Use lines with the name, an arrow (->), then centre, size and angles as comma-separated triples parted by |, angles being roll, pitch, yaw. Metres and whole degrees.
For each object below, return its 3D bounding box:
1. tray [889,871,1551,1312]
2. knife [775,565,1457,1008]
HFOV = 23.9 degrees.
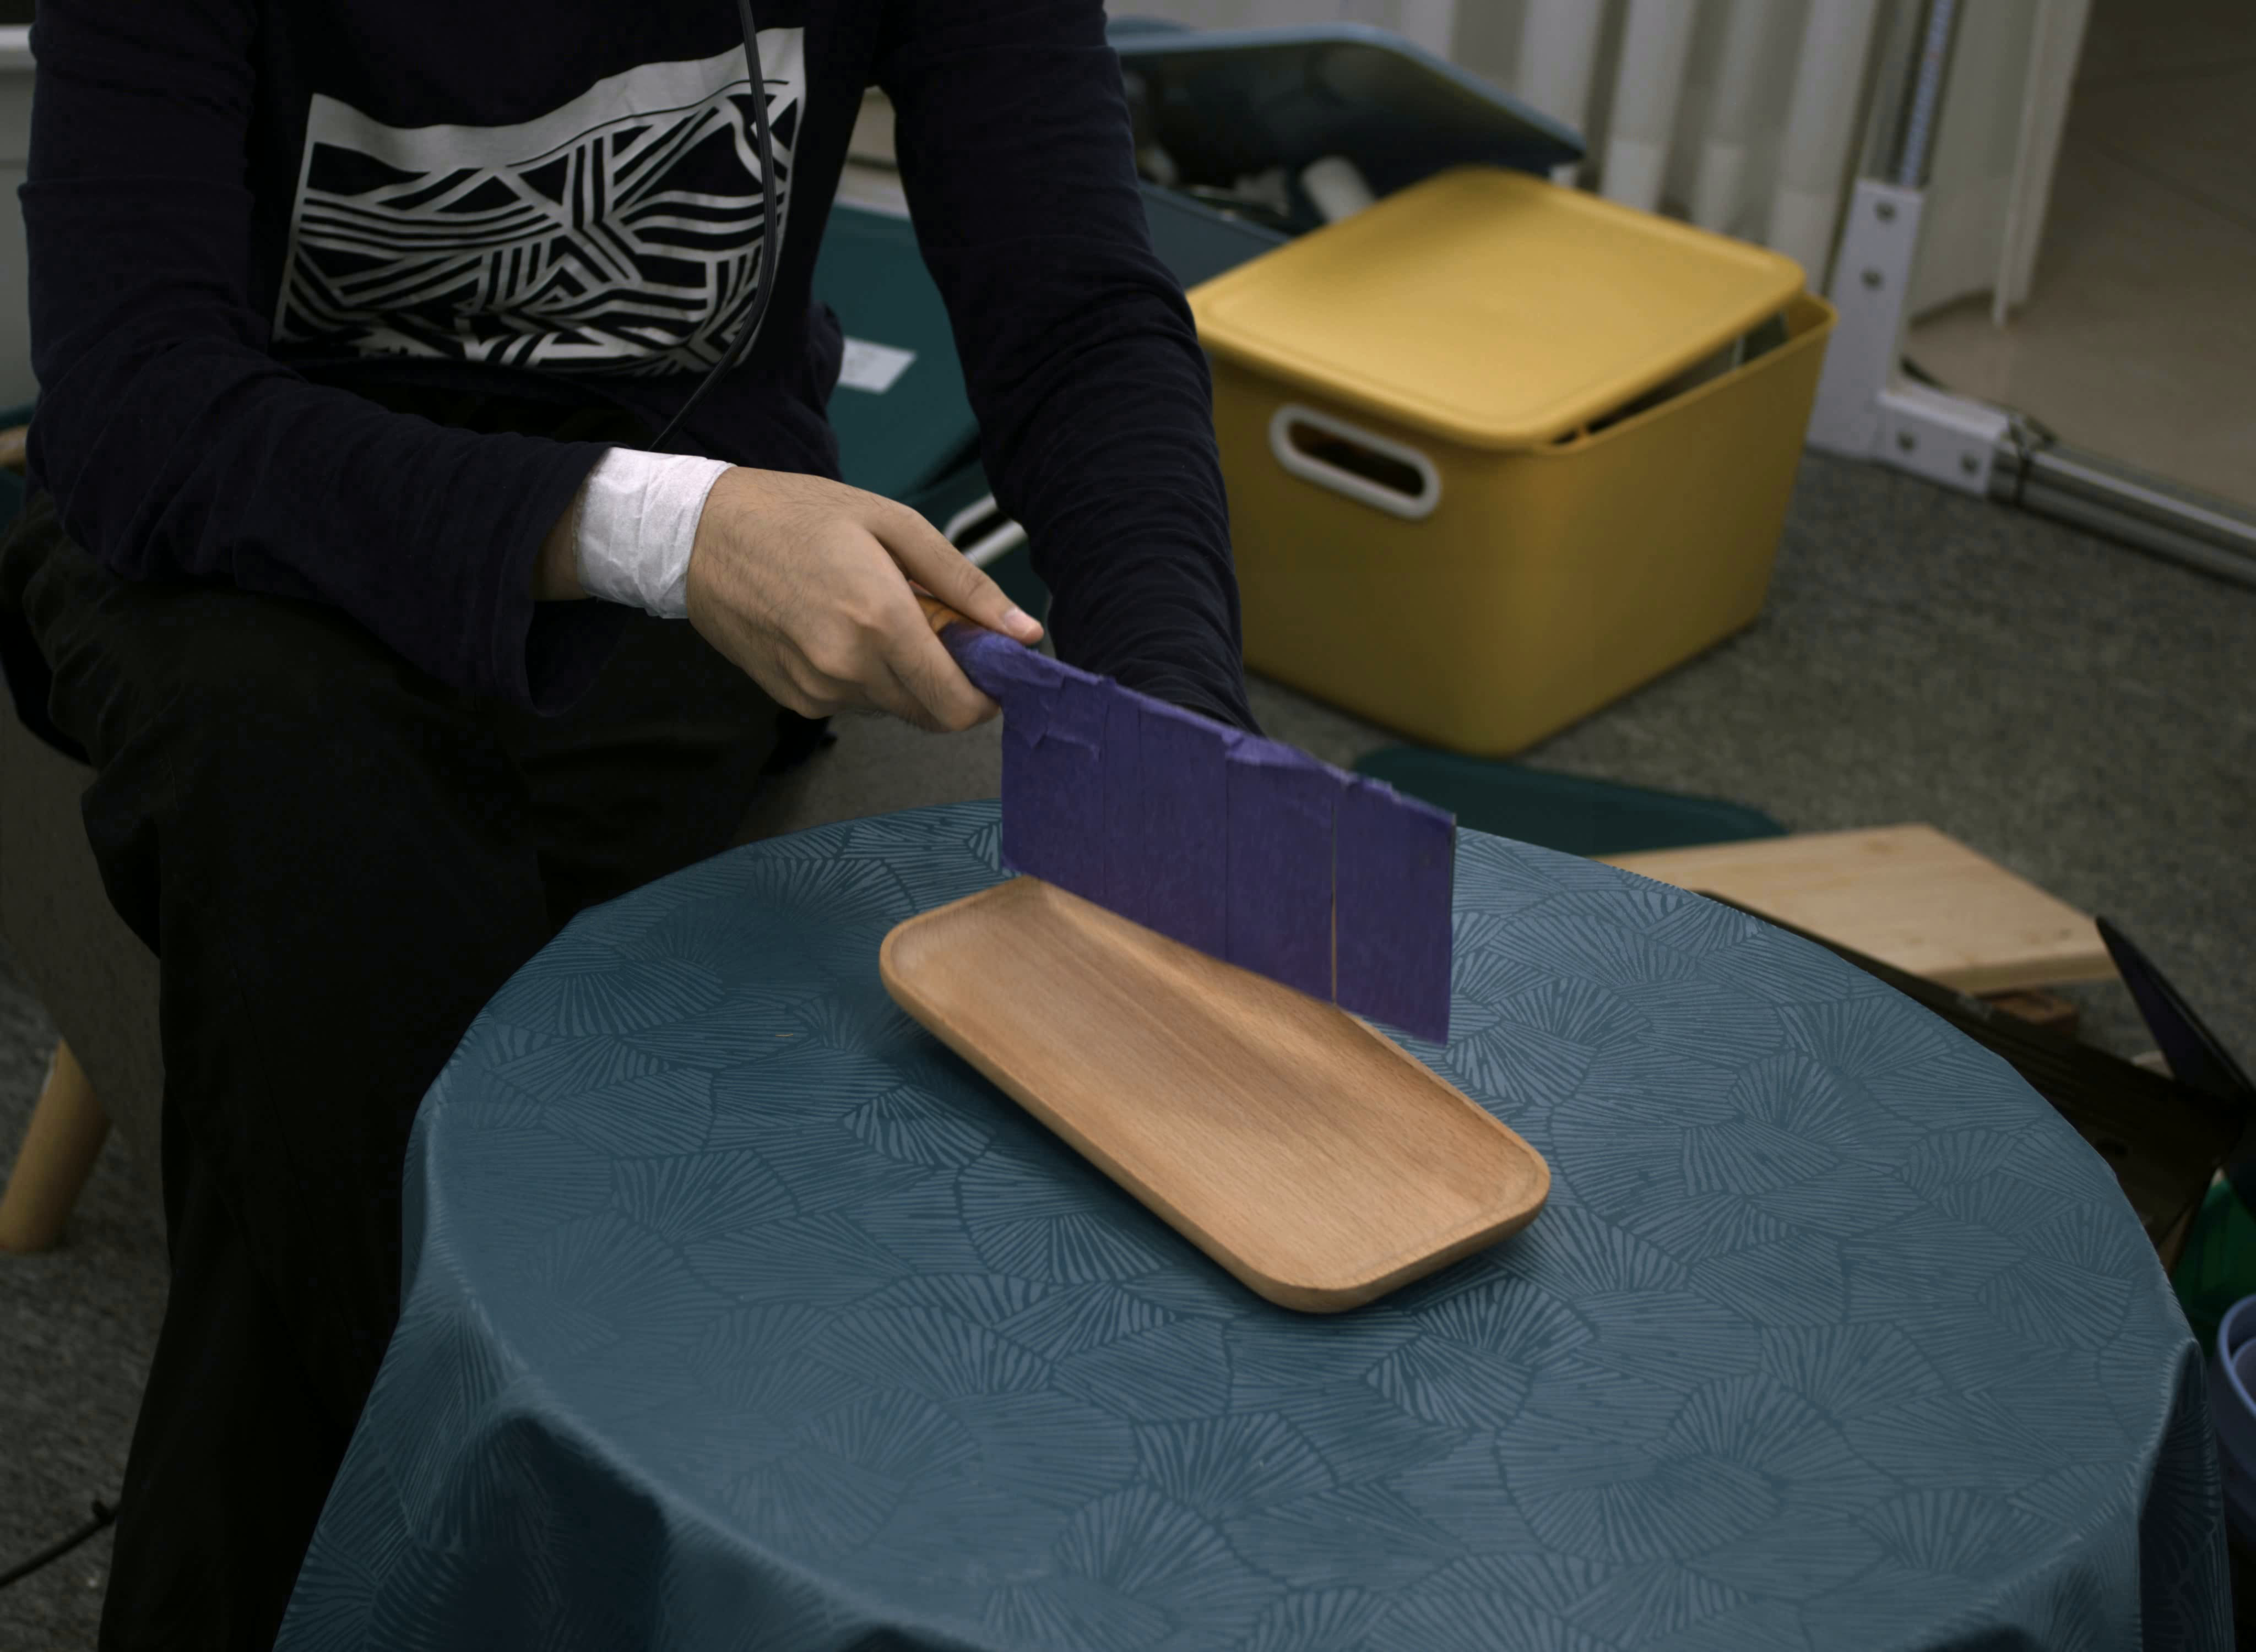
tray -> 0.029, 0.086, 1.843 | 0.130, 0.023, 0.253 | -16, 37, -33
knife -> -0.008, -0.013, 1.883 | 0.317, 0.103, 0.032 | 22, 31, 40
